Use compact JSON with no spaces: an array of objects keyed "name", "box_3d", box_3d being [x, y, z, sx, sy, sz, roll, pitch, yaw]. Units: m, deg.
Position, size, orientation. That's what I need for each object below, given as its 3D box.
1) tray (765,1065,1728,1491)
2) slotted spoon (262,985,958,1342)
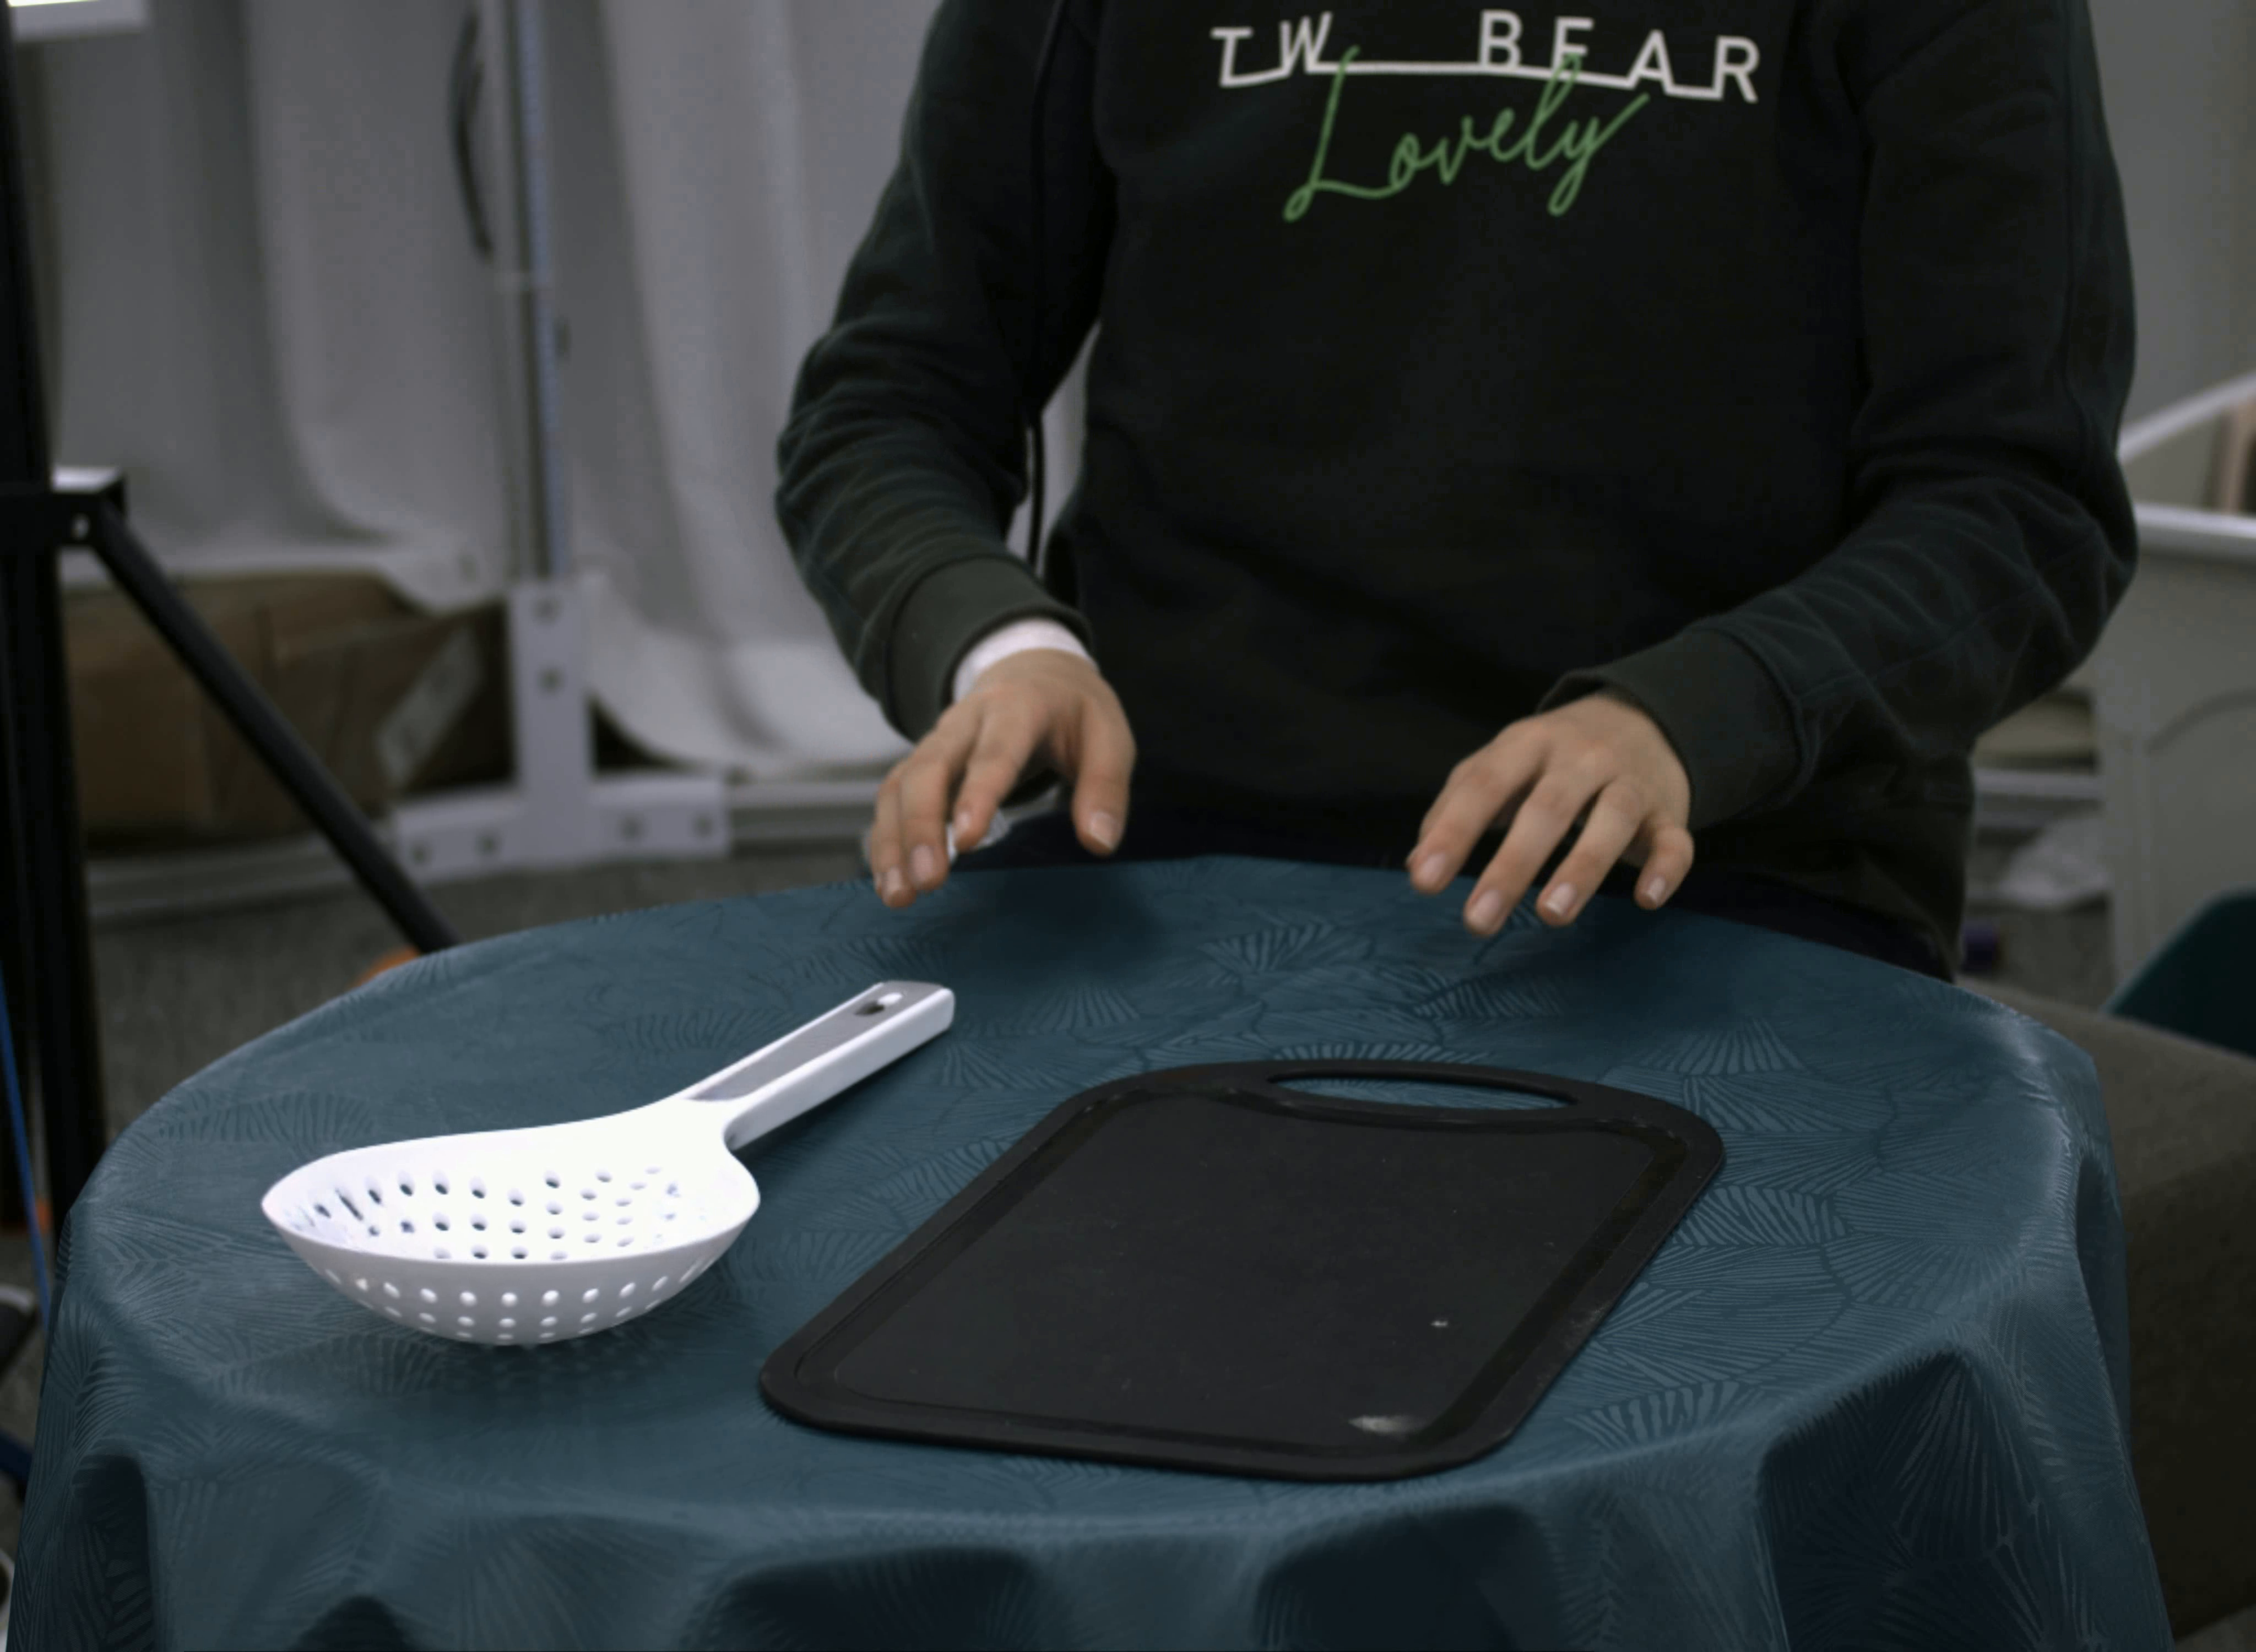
[{"name":"tray","box_3d":[0.043,0.118,1.502,0.214,0.010,0.321,4,17,21]},{"name":"slotted spoon","box_3d":[-0.130,0.089,1.562,0.138,0.046,0.345,6,17,21]}]
